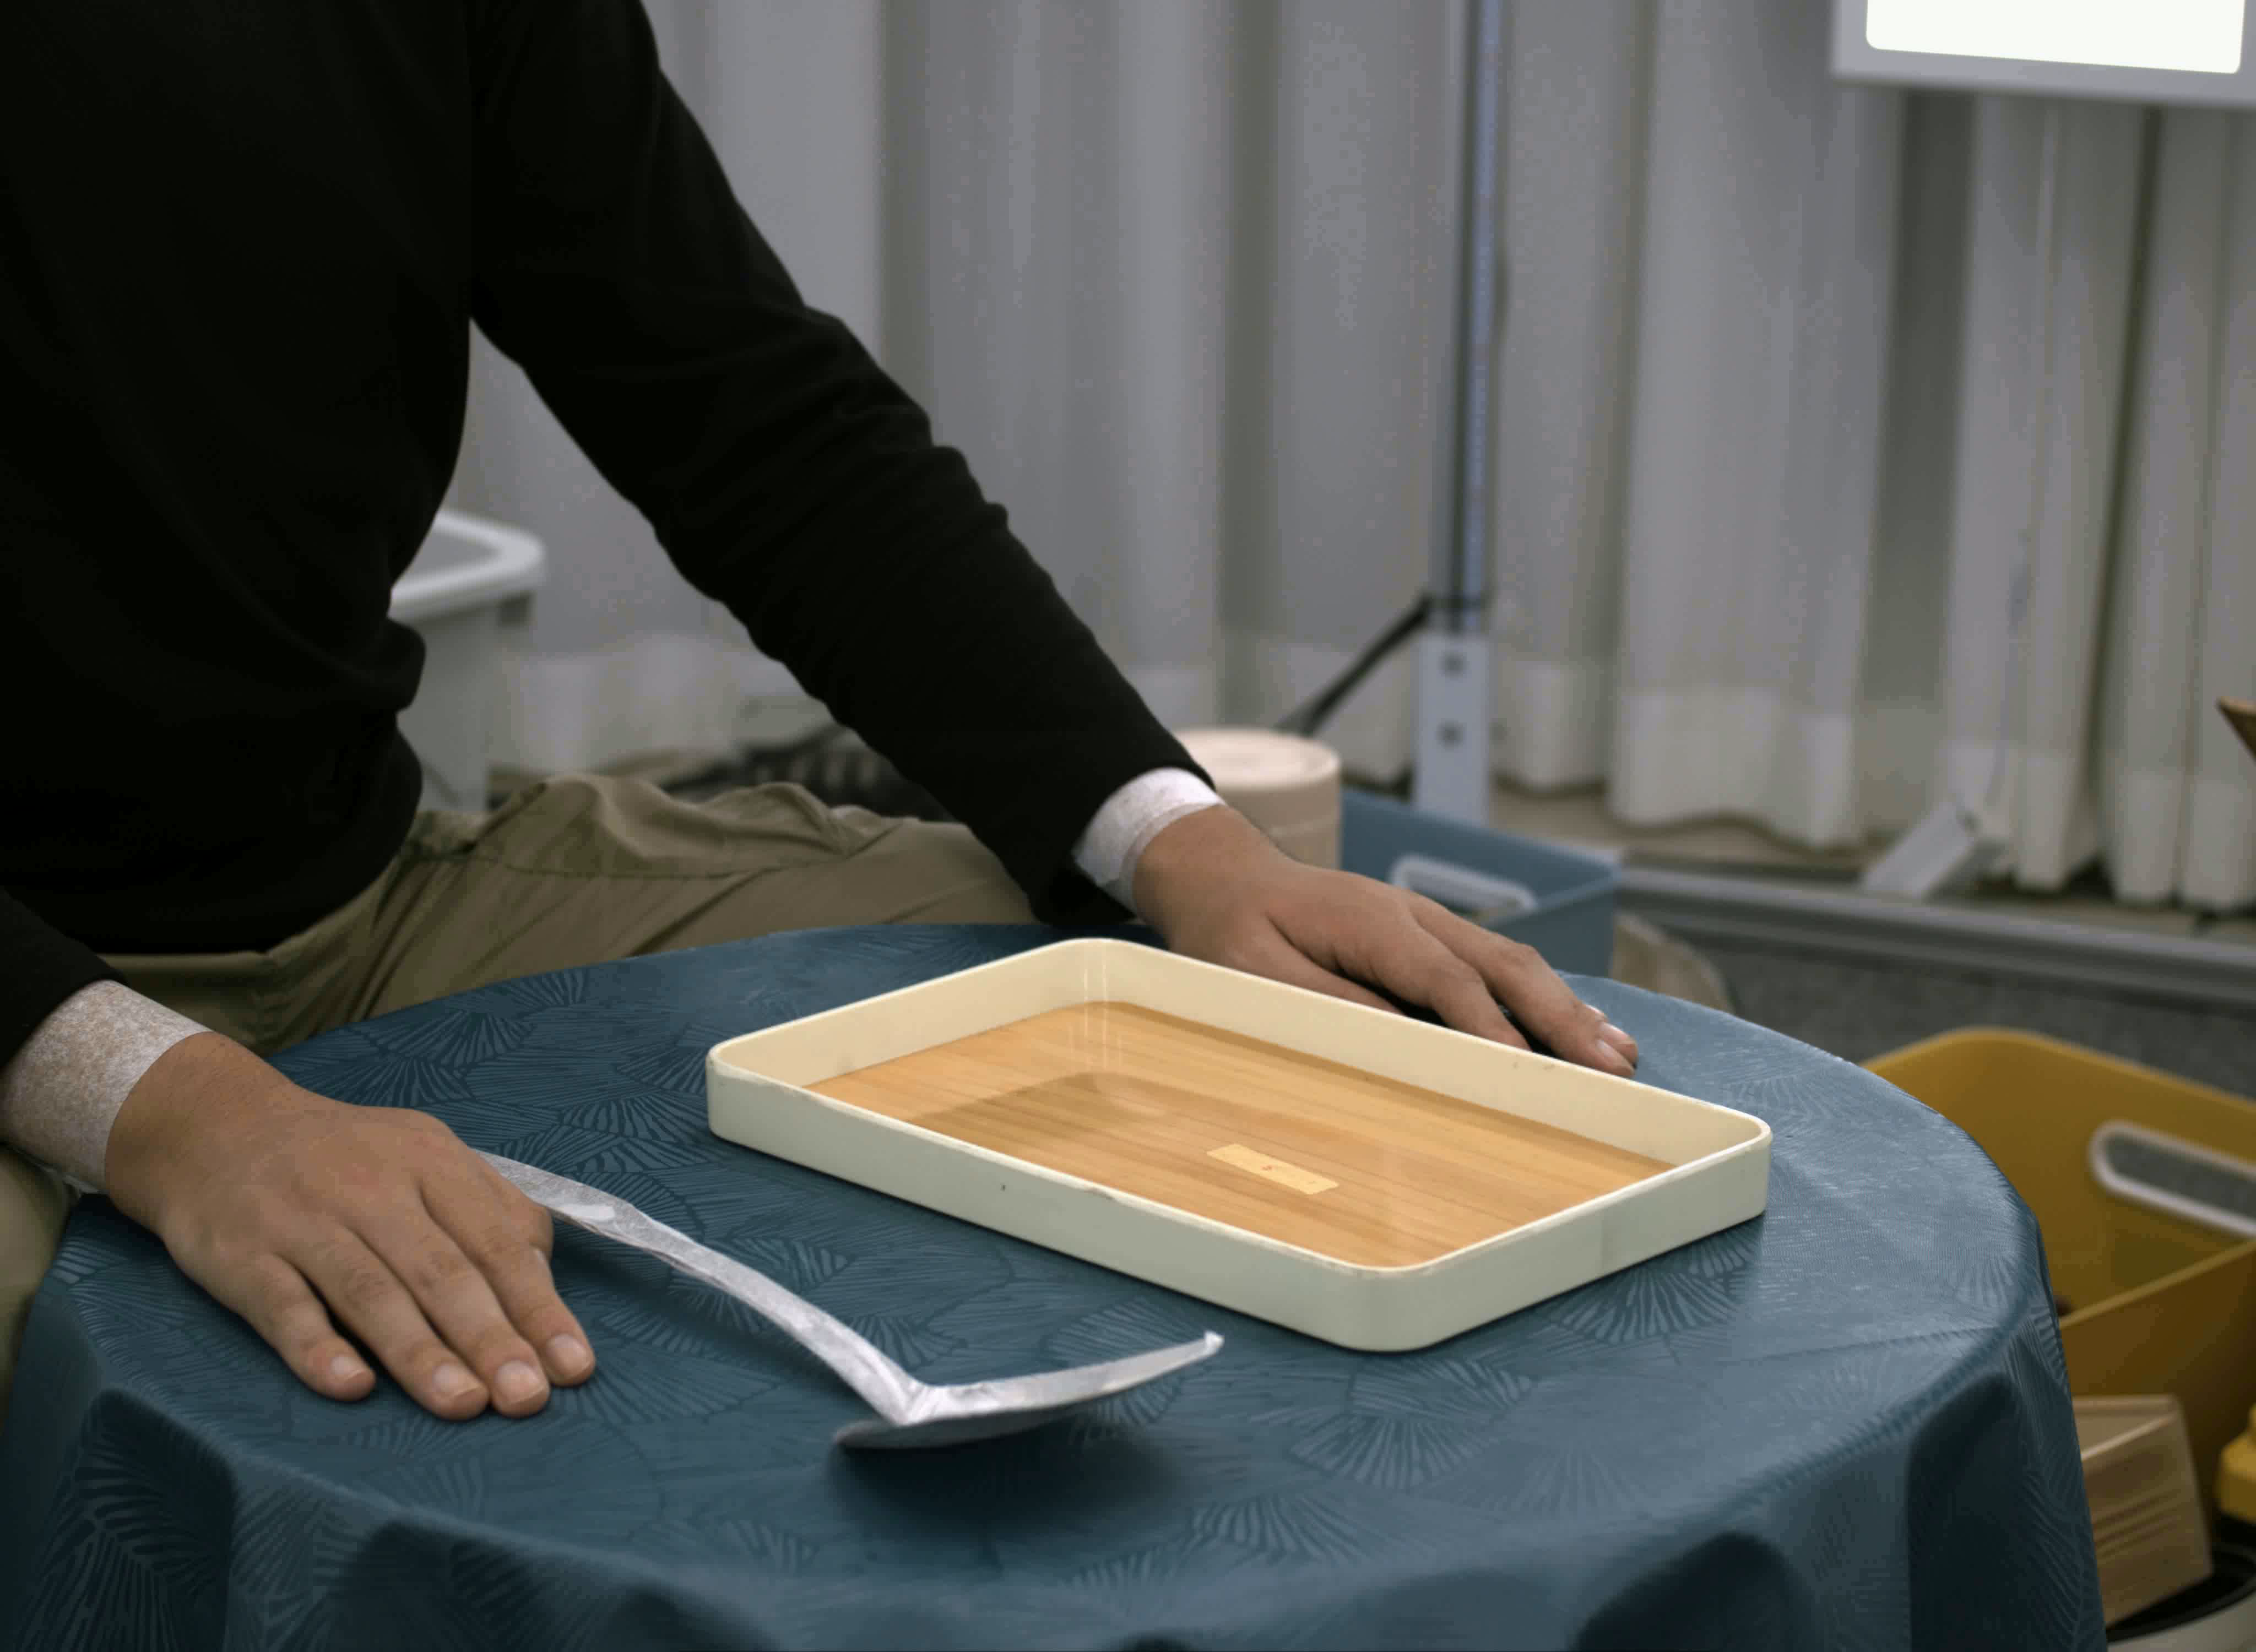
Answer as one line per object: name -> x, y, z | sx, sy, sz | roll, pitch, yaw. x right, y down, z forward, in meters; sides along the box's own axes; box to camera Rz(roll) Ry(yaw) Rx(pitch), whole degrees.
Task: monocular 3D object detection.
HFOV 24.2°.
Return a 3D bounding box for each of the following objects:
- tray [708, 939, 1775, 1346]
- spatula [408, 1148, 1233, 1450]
tray -> 0.032, 0.094, 1.638 | 0.296, 0.027, 0.192 | 15, 21, 42
spatula -> -0.113, 0.124, 1.500 | 0.099, 0.045, 0.360 | -13, 20, -38
